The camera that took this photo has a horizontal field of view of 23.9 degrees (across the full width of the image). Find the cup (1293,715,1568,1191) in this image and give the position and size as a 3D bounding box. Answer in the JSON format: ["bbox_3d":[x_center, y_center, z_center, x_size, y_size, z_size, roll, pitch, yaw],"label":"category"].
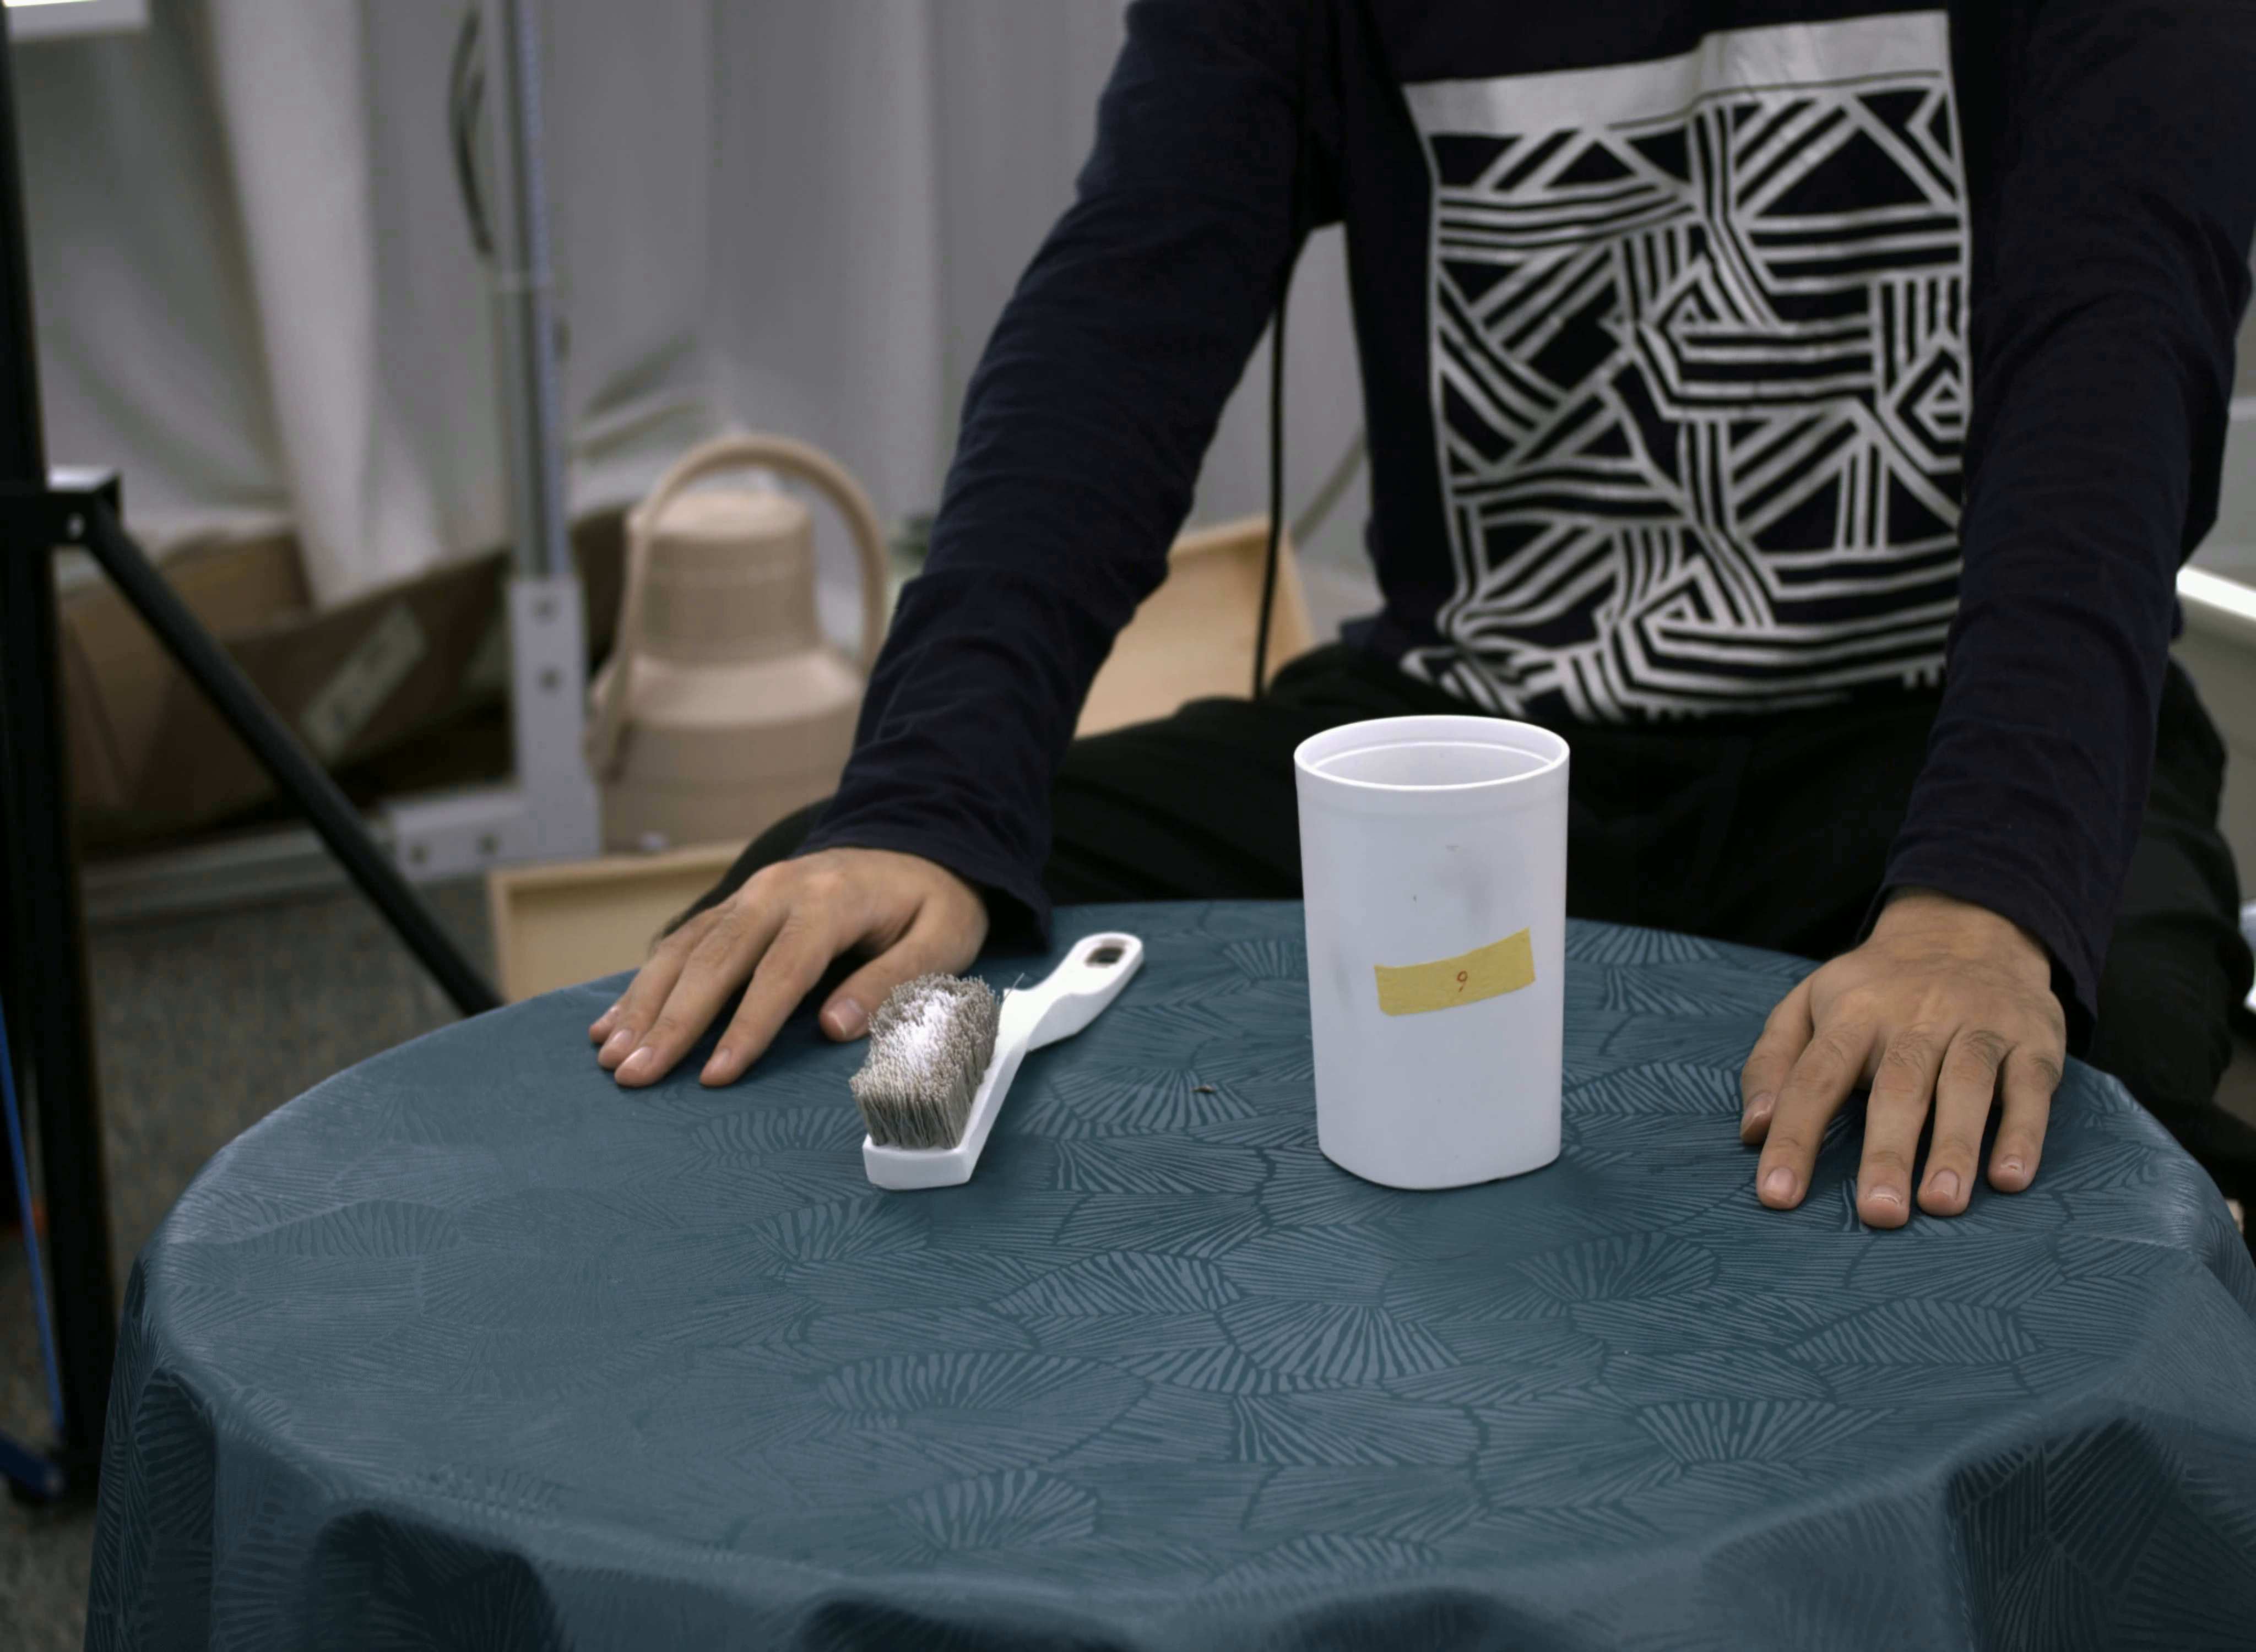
[{"bbox_3d":[0.090,0.038,1.568,0.081,0.125,0.082,-1,14,-1],"label":"cup"}]

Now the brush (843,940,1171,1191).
[{"bbox_3d":[-0.033,0.055,1.667,0.035,0.050,0.241,-1,15,20],"label":"brush"}]
